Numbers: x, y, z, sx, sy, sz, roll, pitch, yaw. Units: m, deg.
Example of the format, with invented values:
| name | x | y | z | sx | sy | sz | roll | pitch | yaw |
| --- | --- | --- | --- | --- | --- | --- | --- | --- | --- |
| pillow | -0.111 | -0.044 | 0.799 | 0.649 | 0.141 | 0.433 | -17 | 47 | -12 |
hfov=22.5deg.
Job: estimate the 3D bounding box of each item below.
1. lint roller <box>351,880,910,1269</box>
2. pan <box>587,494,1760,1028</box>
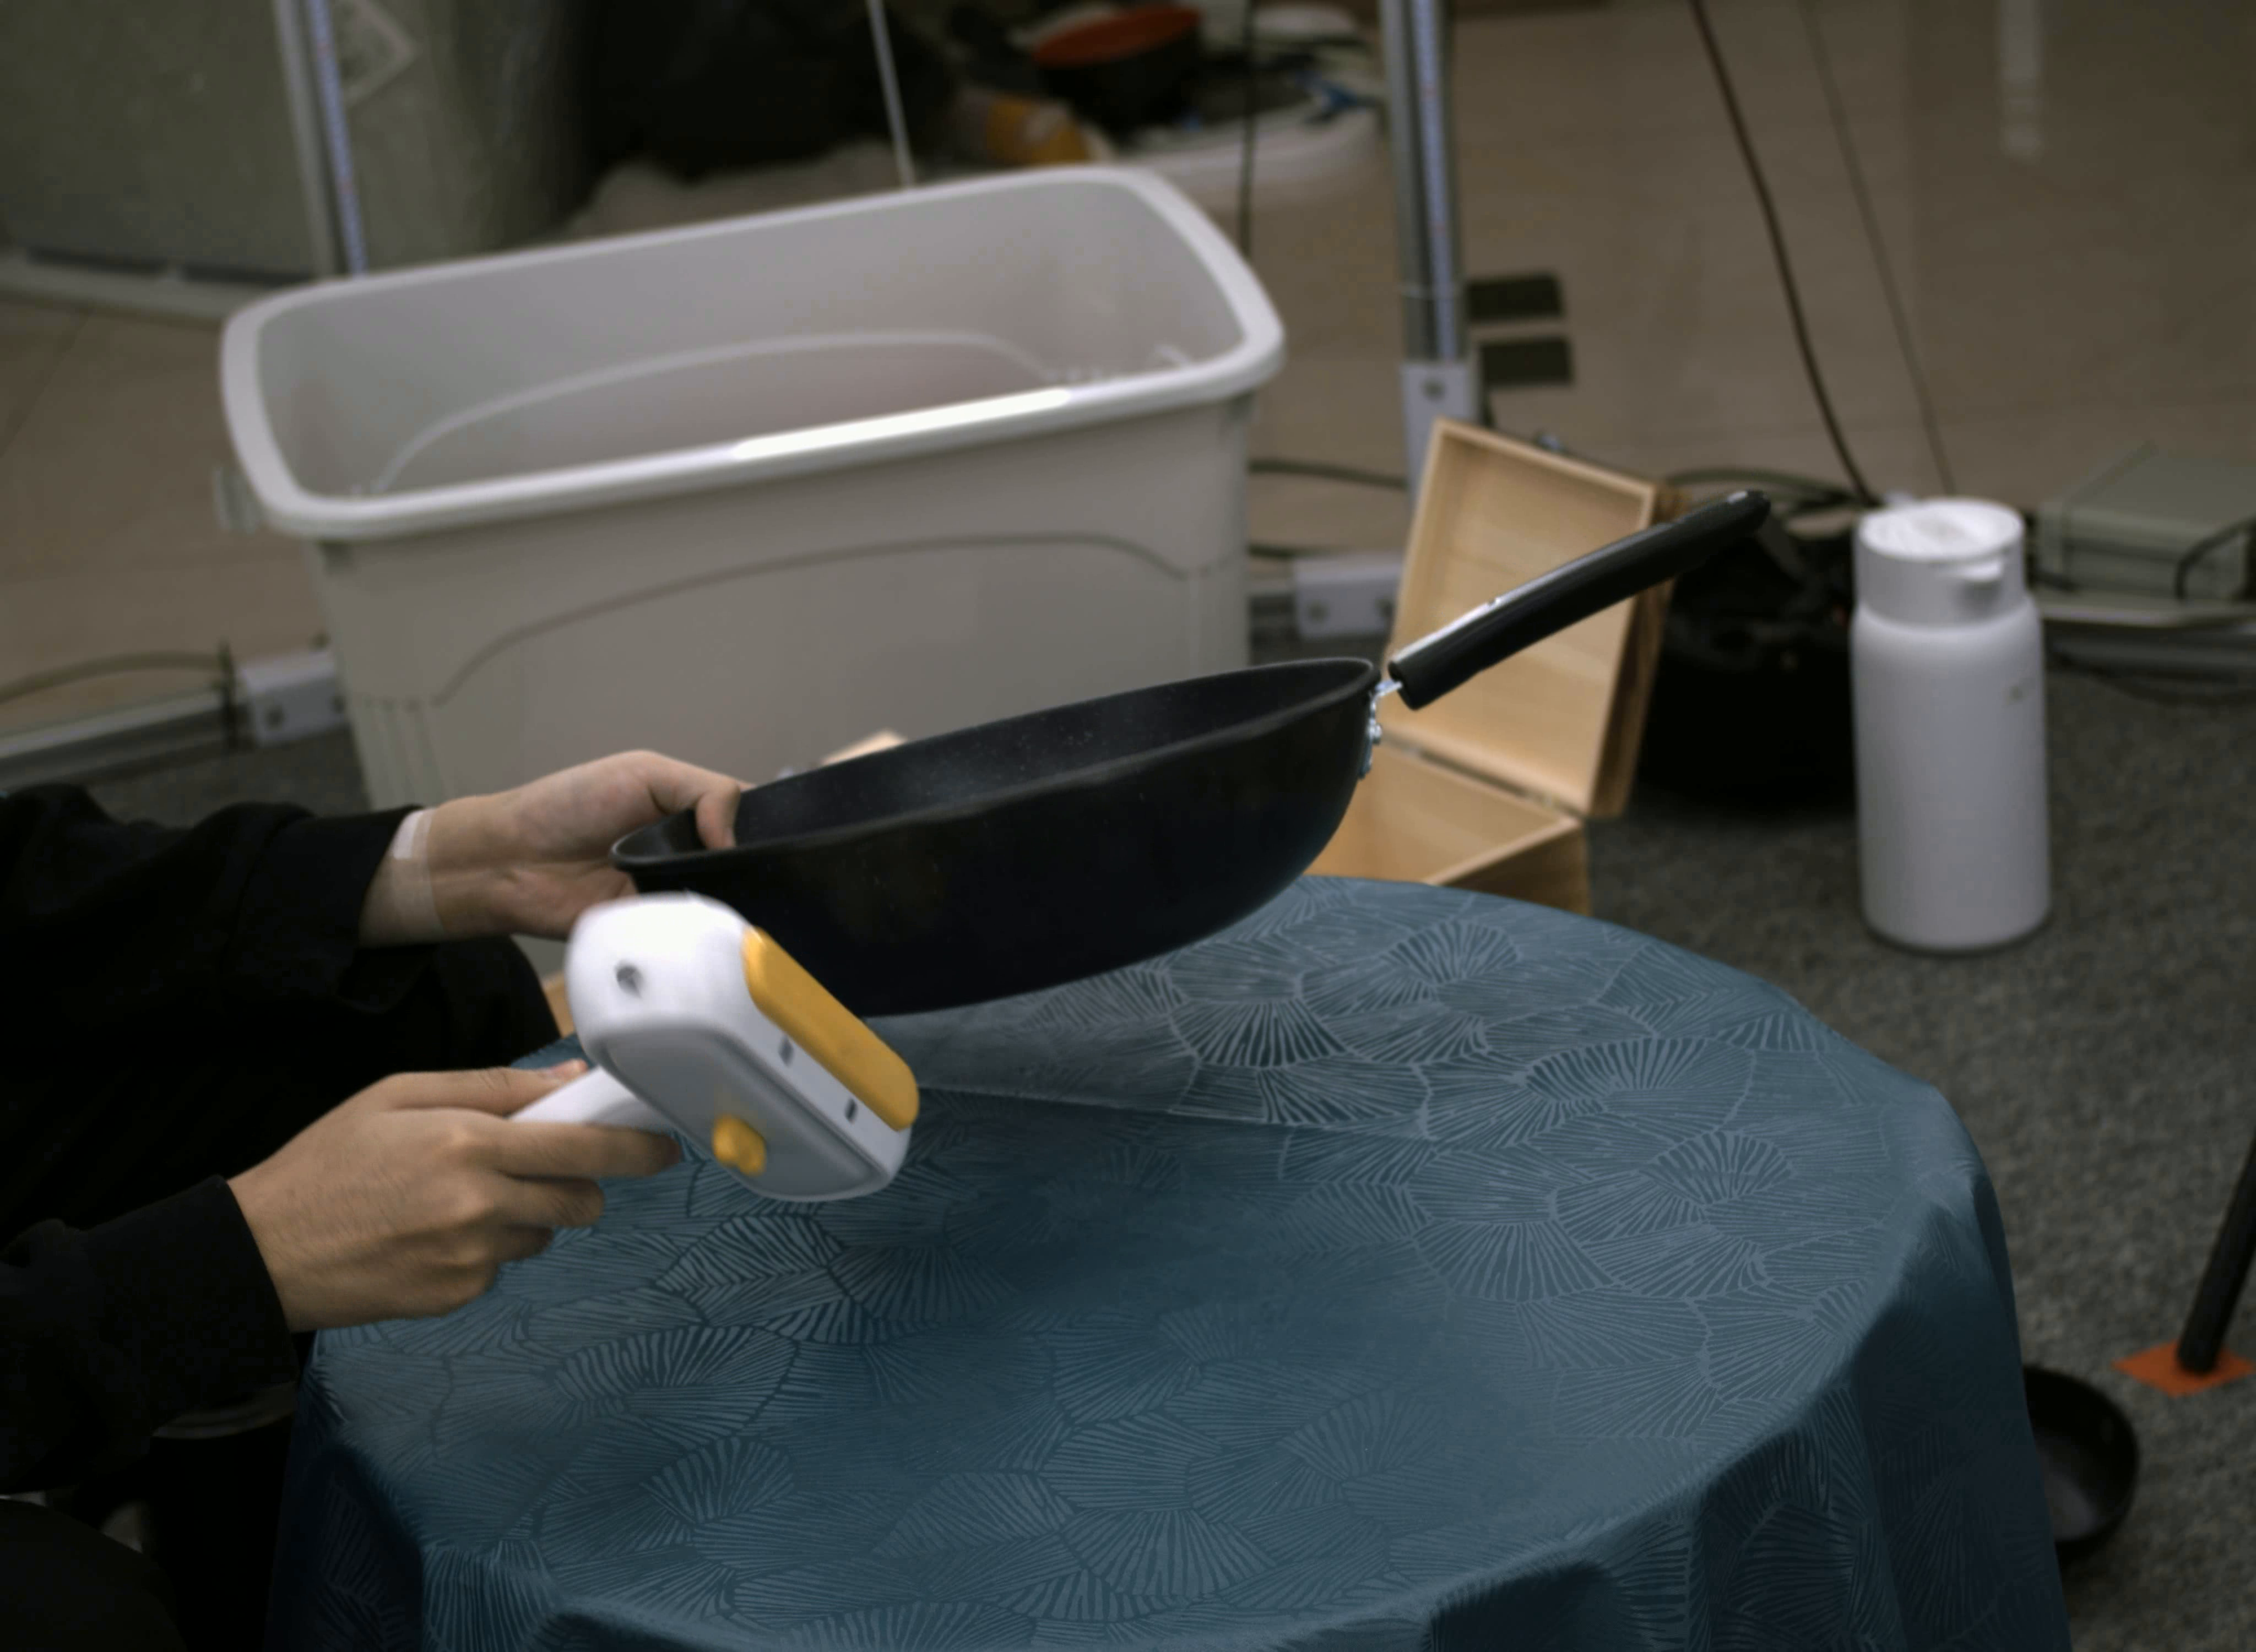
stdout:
| name | x | y | z | sx | sy | sz | roll | pitch | yaw |
| --- | --- | --- | --- | --- | --- | --- | --- | --- | --- |
| lint roller | -0.192 | 0.100 | 2.003 | 0.193 | 0.195 | 0.073 | -20 | 62 | 19 |
| pan | 0.028 | -0.018 | 2.199 | 0.476 | 0.112 | 0.309 | -15 | 7 | -6 |
